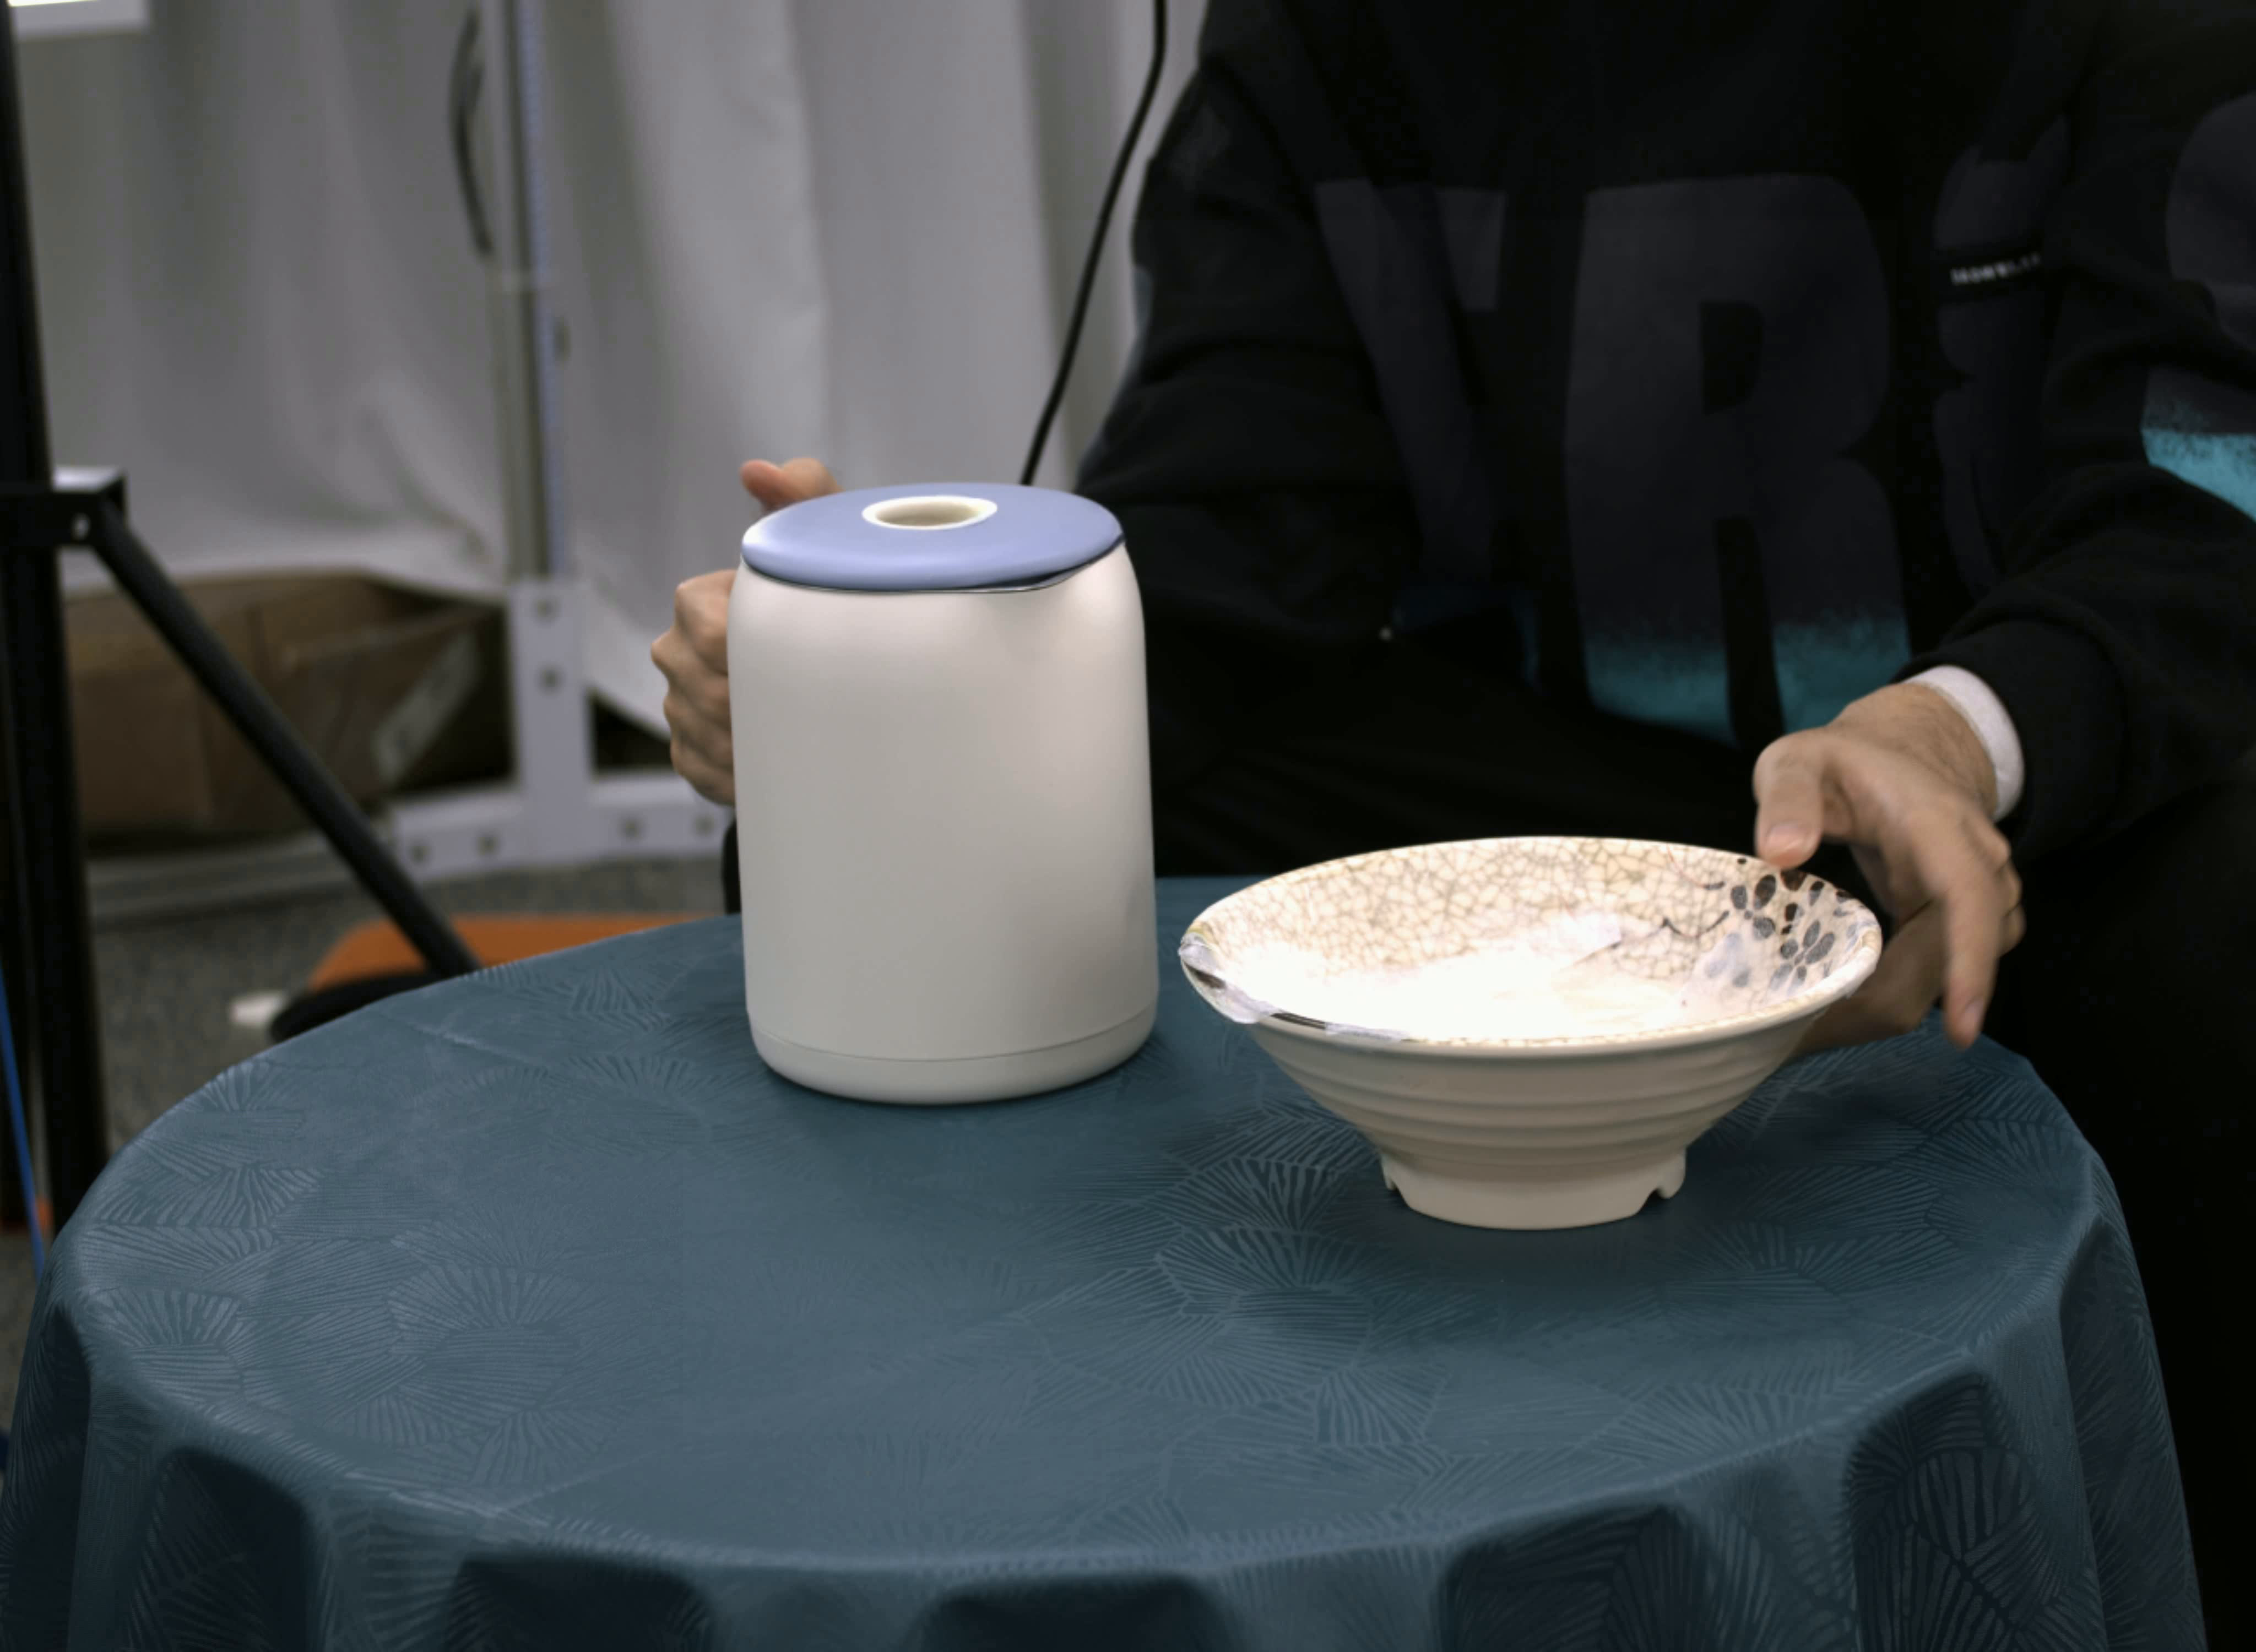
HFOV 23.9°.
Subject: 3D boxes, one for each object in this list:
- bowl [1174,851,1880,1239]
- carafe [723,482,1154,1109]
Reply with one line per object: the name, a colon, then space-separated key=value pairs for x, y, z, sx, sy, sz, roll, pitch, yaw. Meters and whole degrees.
bowl: x=0.115 y=0.070 z=1.537 sx=0.203 sy=0.078 sz=0.205 roll=-1 pitch=14 yaw=-1
carafe: x=-0.072 y=-0.015 z=1.695 sx=0.129 sy=0.182 sz=0.195 roll=-10 pitch=14 yaw=-29
